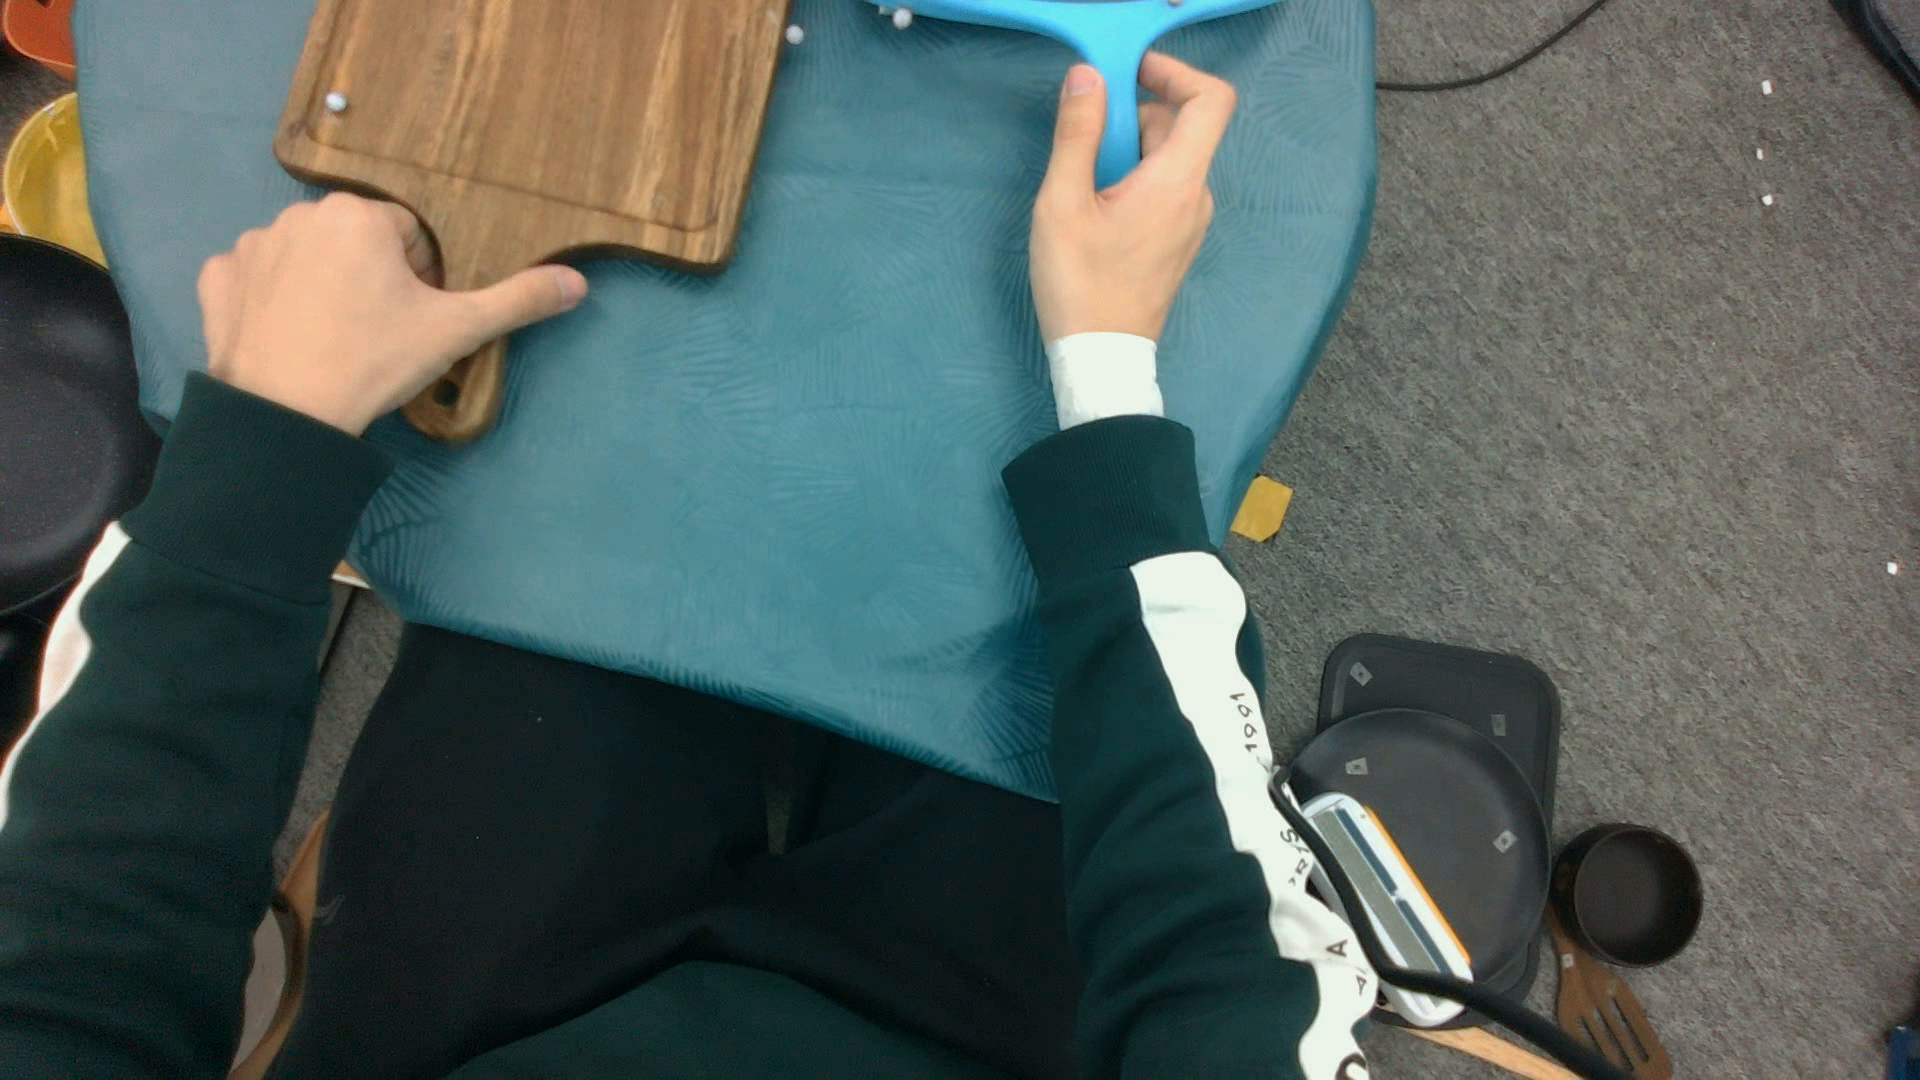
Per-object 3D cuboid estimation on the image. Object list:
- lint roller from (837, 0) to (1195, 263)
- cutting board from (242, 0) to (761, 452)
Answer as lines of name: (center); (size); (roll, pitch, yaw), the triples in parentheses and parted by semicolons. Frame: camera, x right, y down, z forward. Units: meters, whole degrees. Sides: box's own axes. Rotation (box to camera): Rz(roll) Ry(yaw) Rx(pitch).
lint roller: (0.052, -0.224, 0.634); (0.229, 0.068, 0.180); (-9, 83, -10)
cutting board: (-0.199, -0.210, 0.612); (0.201, 0.023, 0.353); (11, 79, -5)
